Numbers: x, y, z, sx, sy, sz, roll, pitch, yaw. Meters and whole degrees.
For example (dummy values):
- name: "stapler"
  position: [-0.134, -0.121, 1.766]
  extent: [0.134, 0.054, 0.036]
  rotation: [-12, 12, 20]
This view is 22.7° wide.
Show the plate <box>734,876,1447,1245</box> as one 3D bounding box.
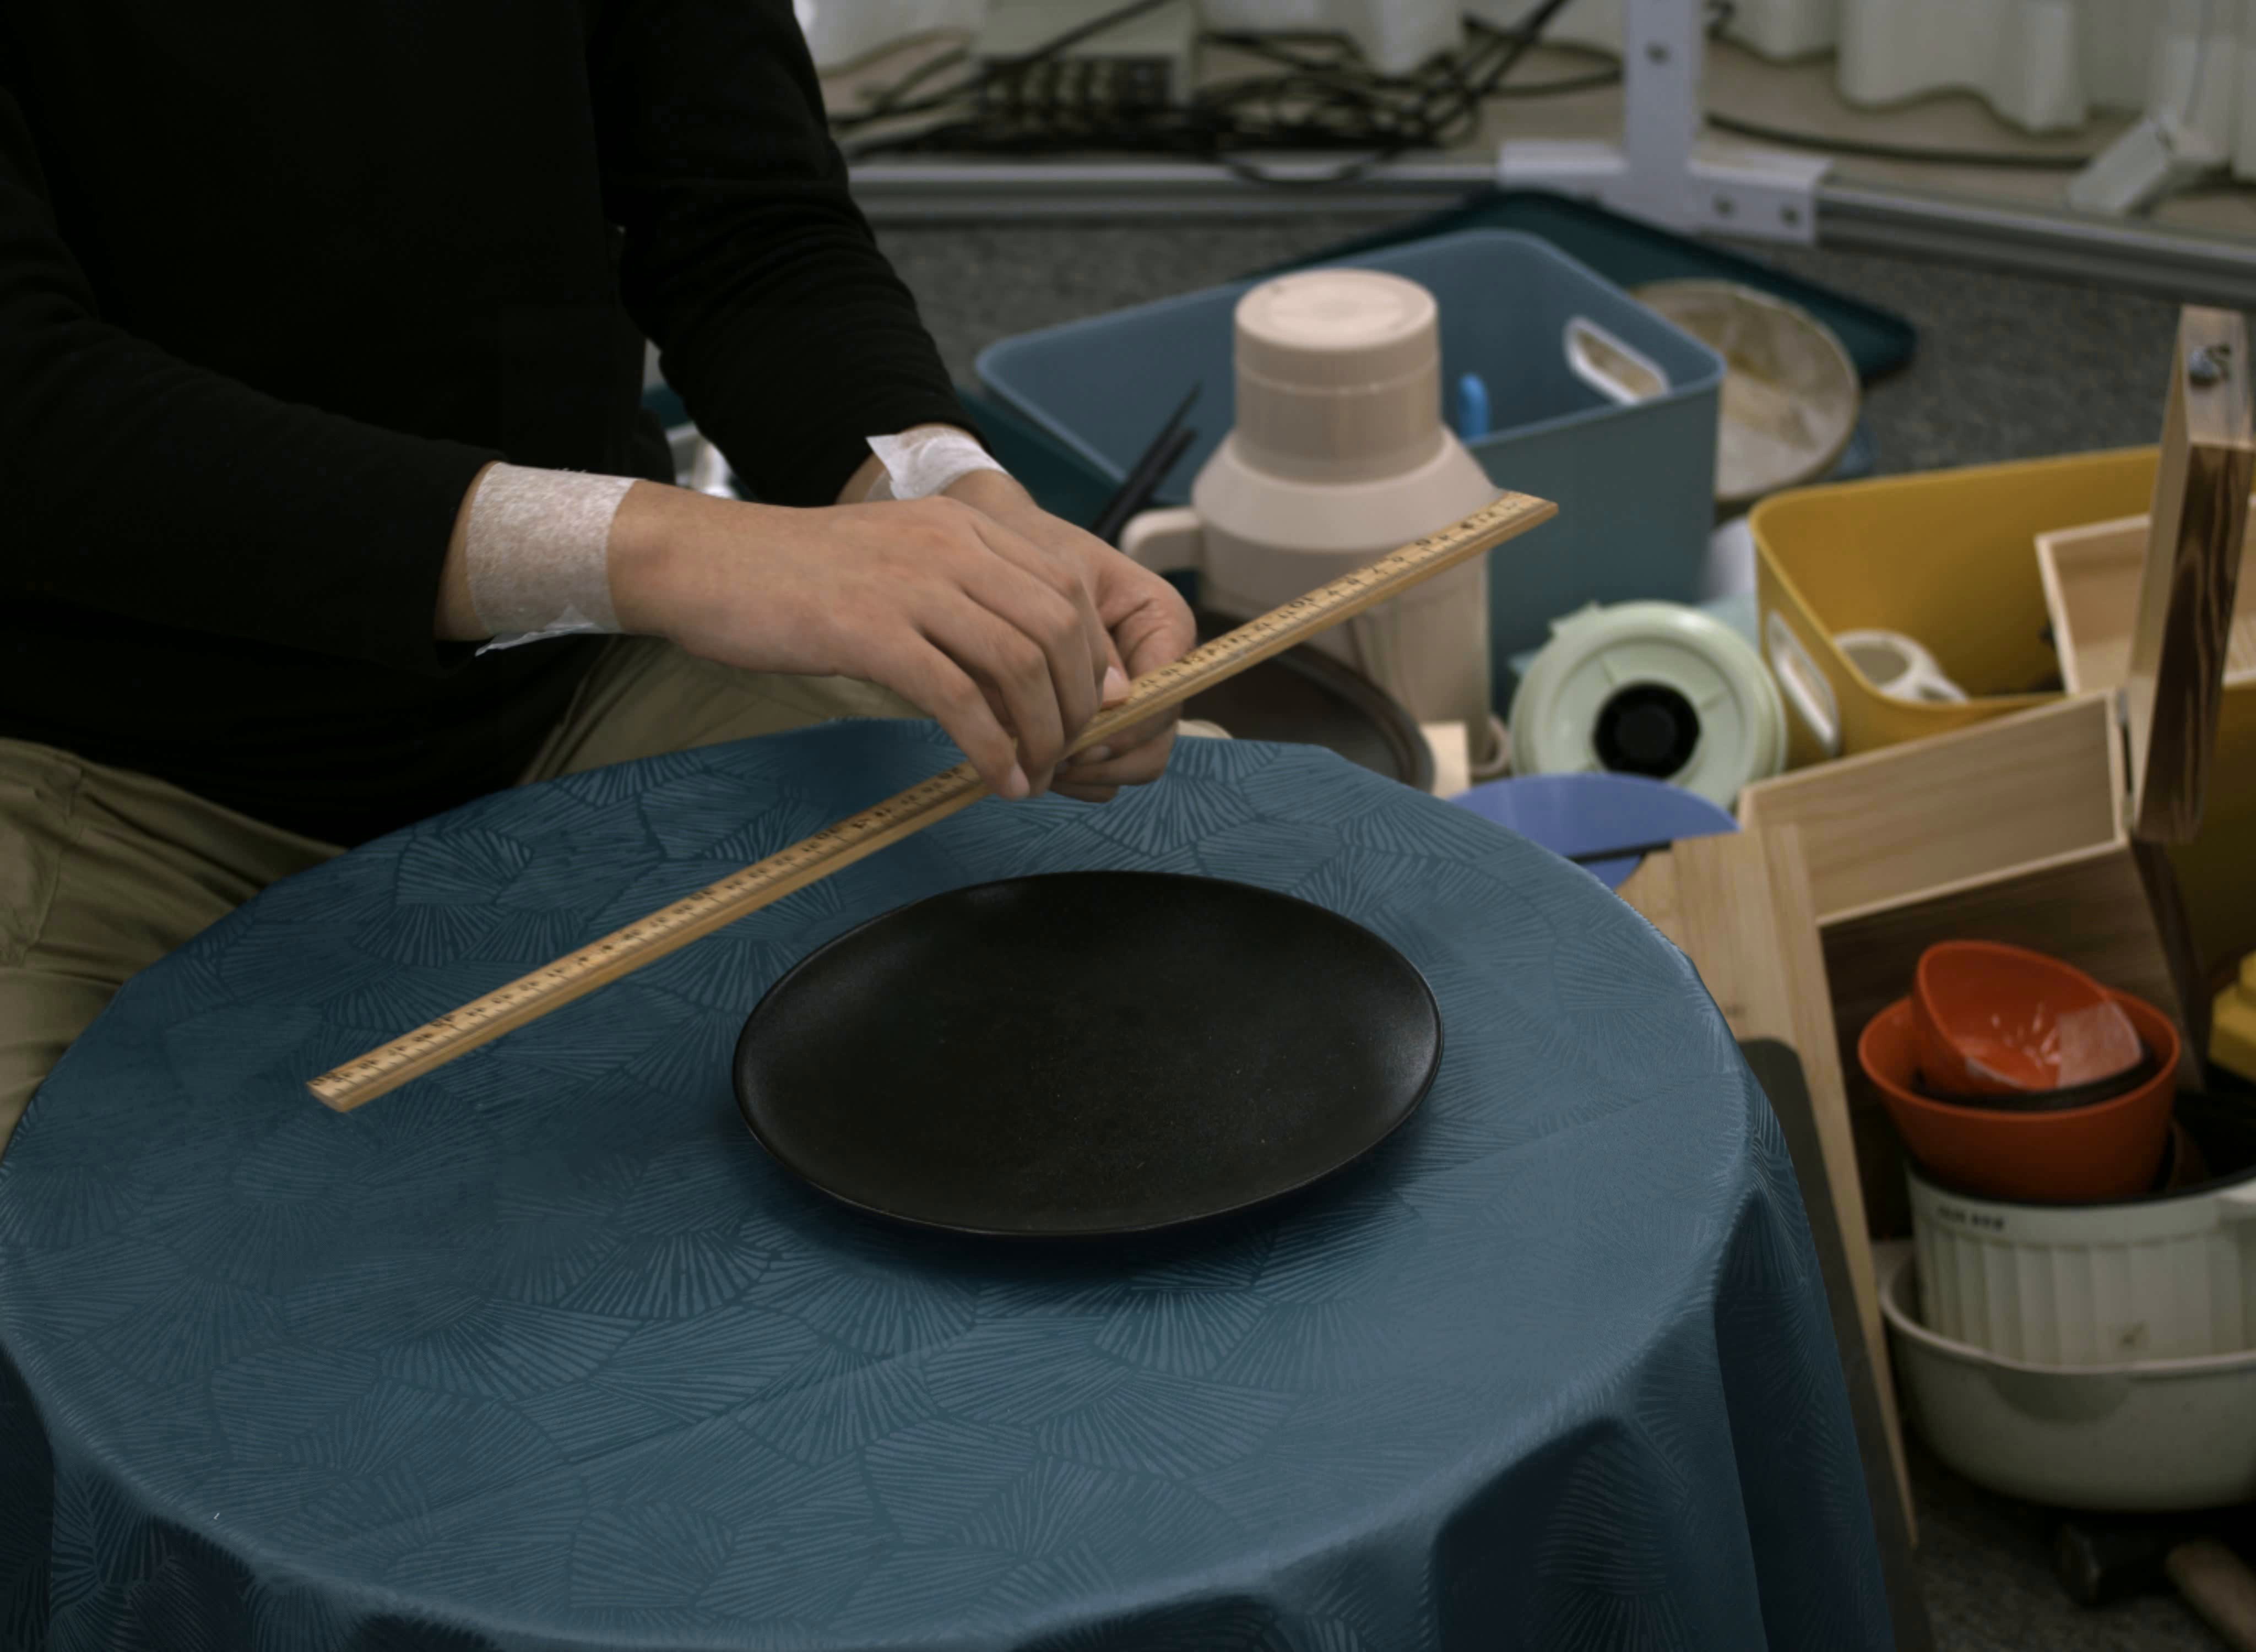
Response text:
- name: "plate"
  position: [-0.012, 0.083, 1.912]
  extent: [0.243, 0.023, 0.248]
  rotation: [-2, 27, 2]

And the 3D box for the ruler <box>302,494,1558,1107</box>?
- name: "ruler"
  position: [-0.058, -0.015, 1.912]
  extent: [0.505, 0.006, 0.027]
  rotation: [-26, 23, -25]
